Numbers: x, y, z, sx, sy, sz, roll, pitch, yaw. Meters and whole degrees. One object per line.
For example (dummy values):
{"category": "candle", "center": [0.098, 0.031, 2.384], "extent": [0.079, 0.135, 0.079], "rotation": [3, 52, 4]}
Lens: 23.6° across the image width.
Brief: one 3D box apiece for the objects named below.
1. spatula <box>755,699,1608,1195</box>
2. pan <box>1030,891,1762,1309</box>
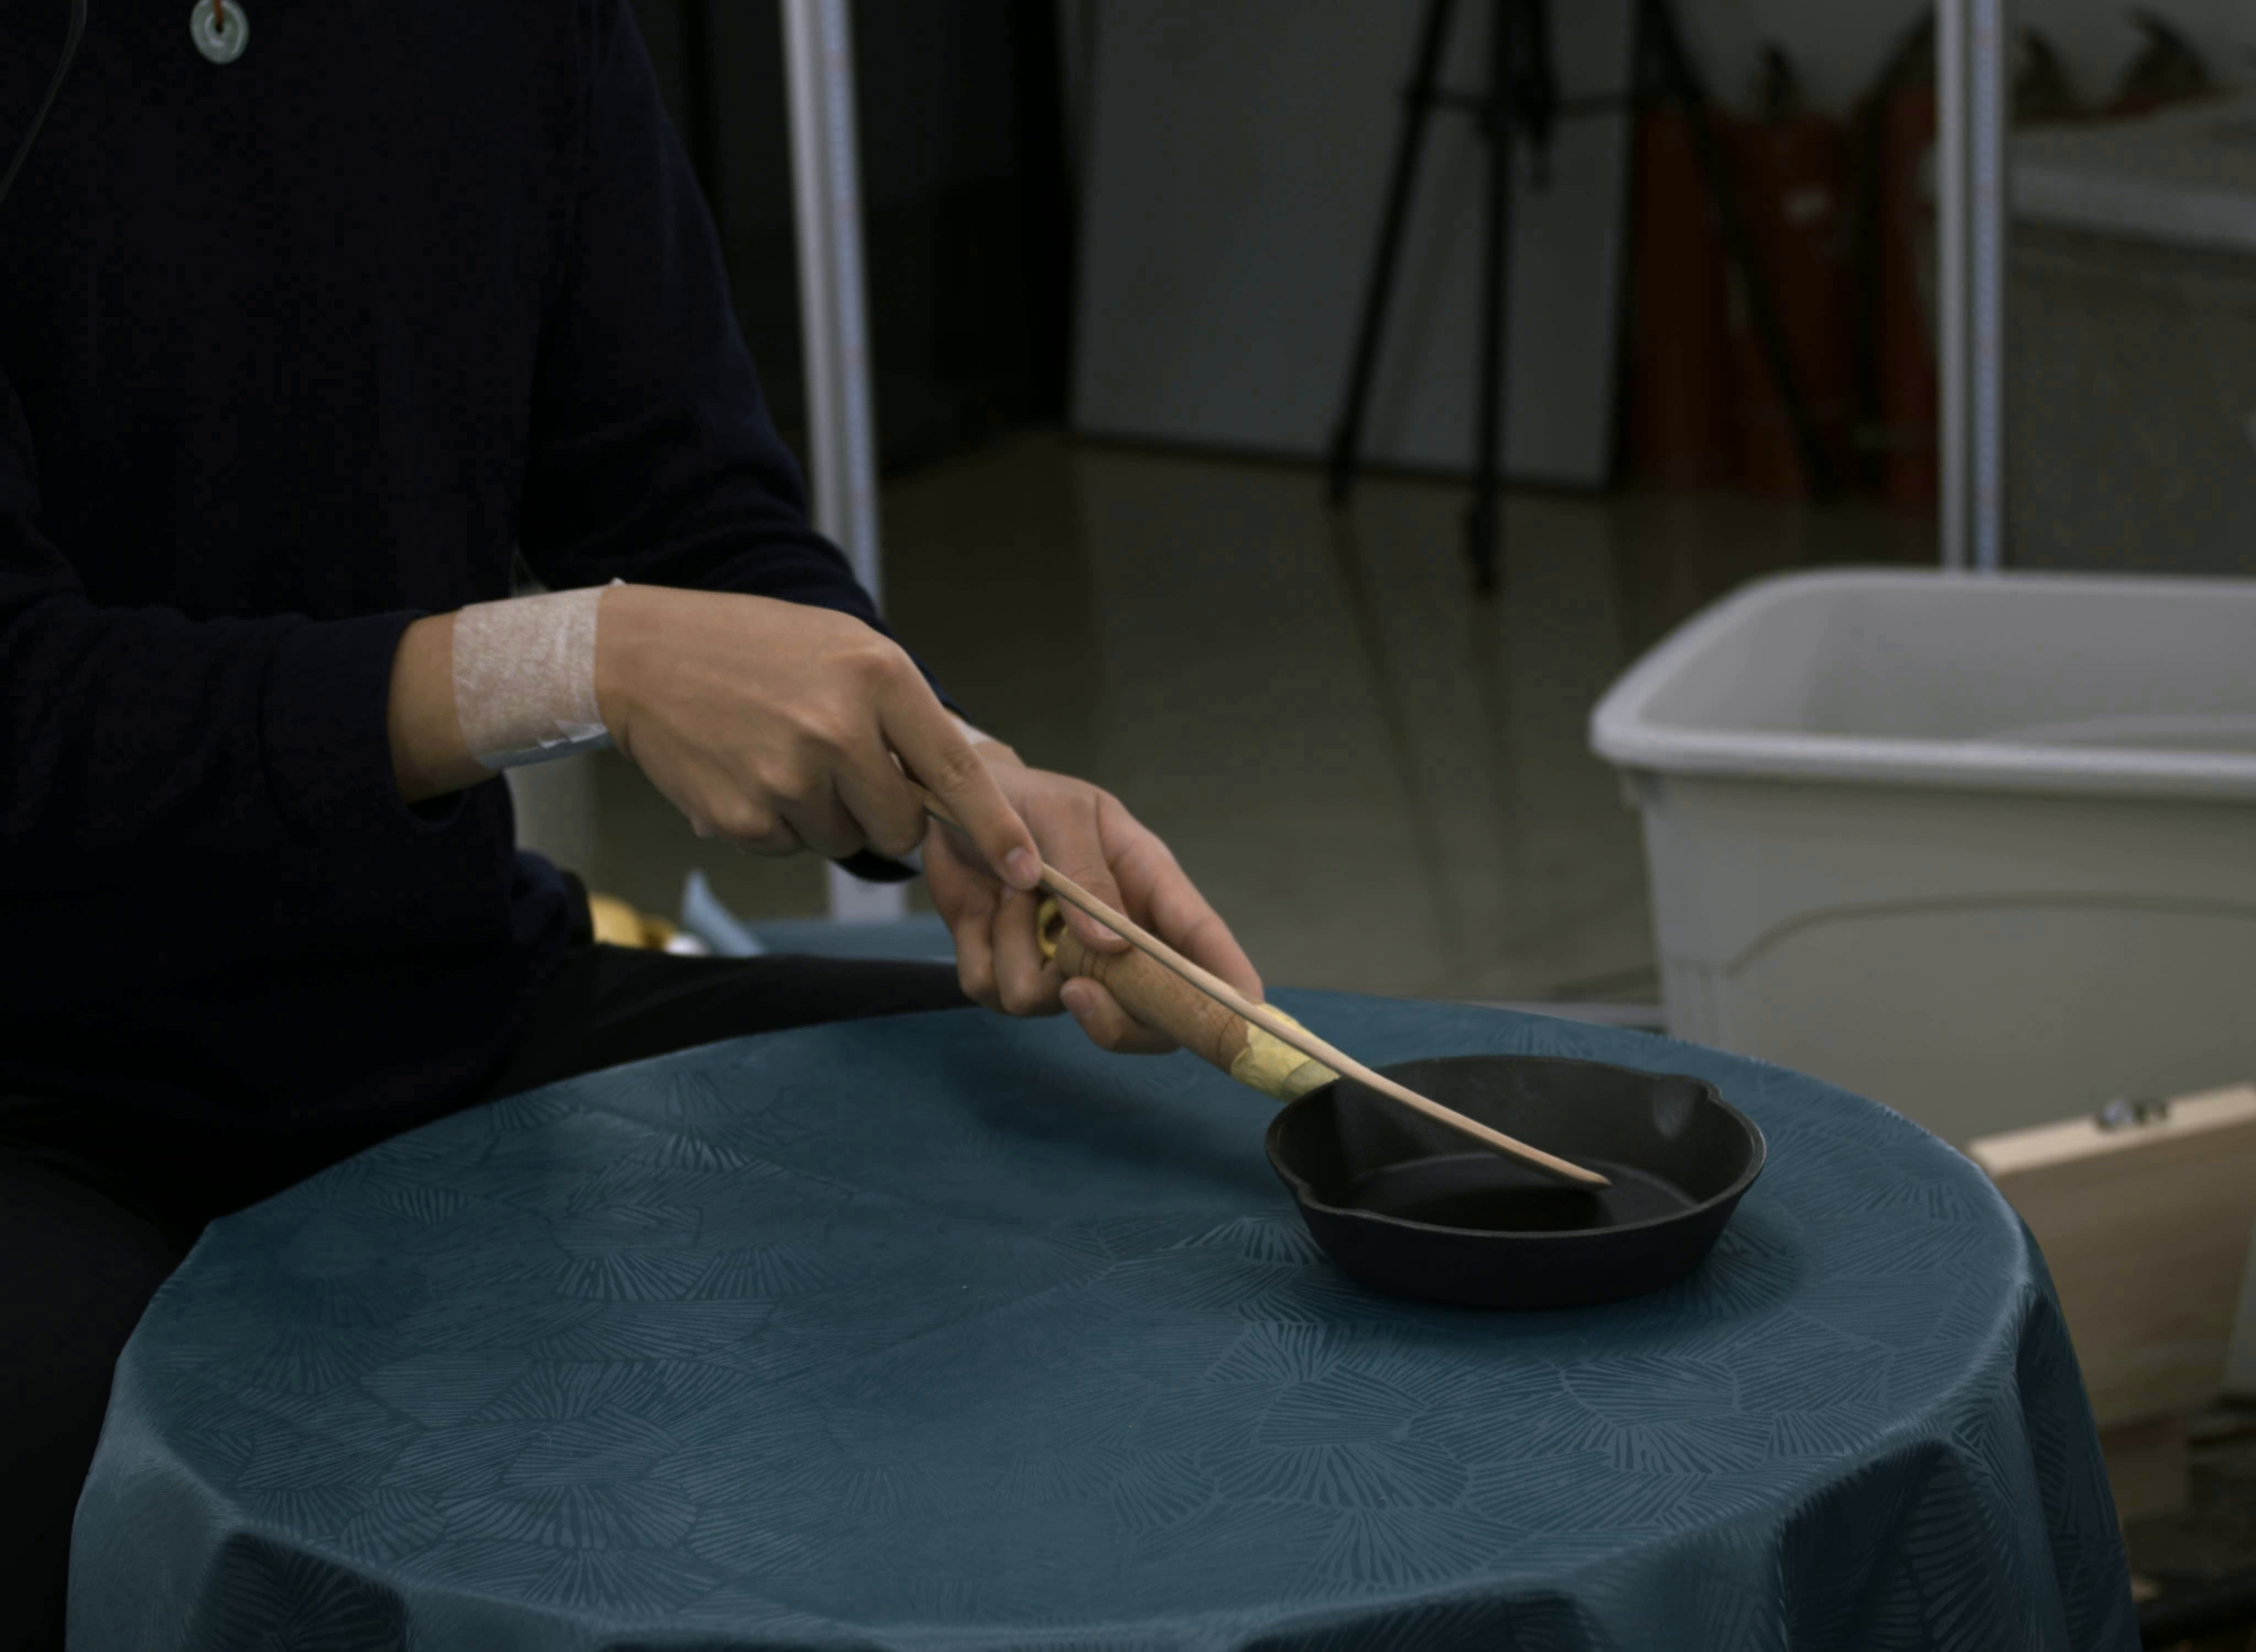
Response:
{"category": "spatula", "center": [0.015, 0.039, 1.726], "extent": [0.328, 0.016, 0.079], "rotation": [31, -4, 17]}
{"category": "pan", "center": [0.070, 0.085, 1.746], "extent": [0.165, 0.050, 0.328], "rotation": [-13, 22, -34]}
